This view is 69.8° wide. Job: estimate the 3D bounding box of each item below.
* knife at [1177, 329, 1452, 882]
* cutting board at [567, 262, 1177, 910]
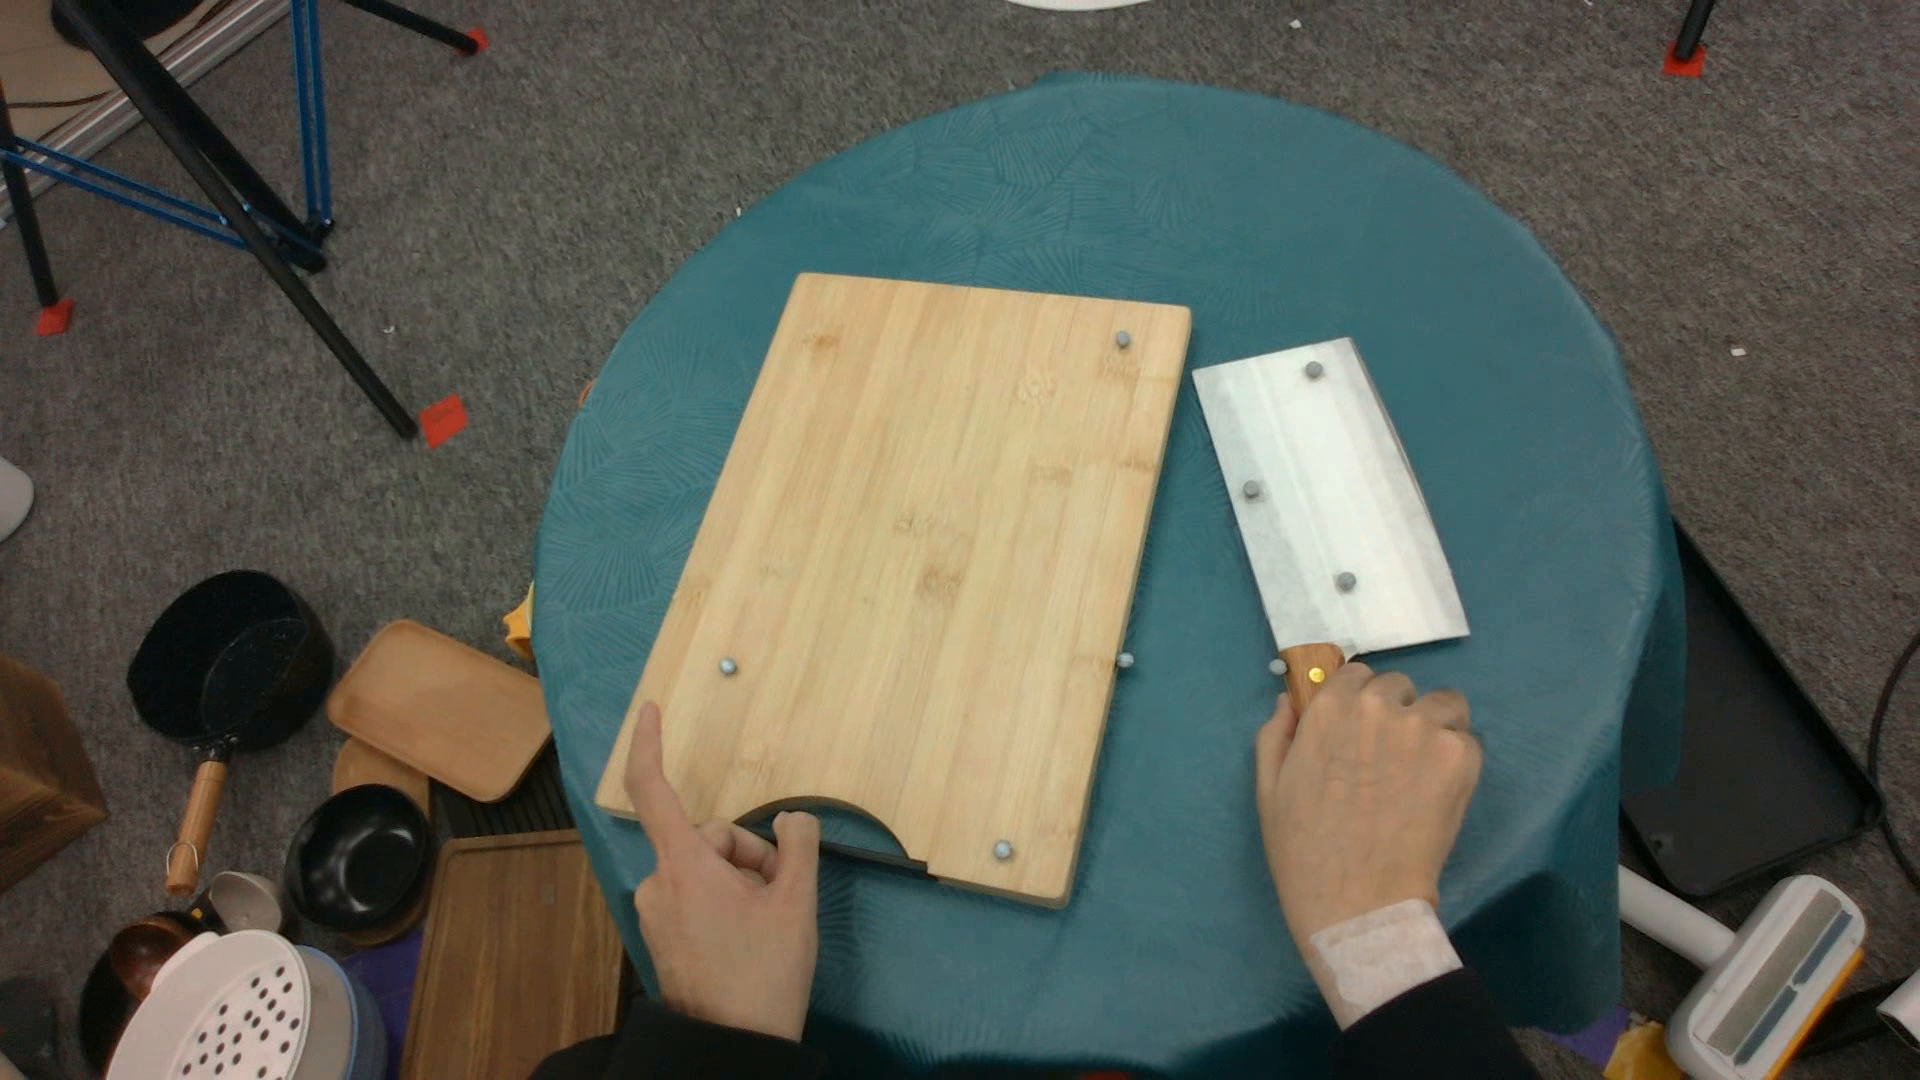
[{"bbox_3d":[0.185,0.014,0.678,0.093,0.021,0.307,-12,57,1],"label":"knife"},{"bbox_3d":[-0.035,0.002,0.729,0.250,0.023,0.350,7,62,15],"label":"cutting board"}]
